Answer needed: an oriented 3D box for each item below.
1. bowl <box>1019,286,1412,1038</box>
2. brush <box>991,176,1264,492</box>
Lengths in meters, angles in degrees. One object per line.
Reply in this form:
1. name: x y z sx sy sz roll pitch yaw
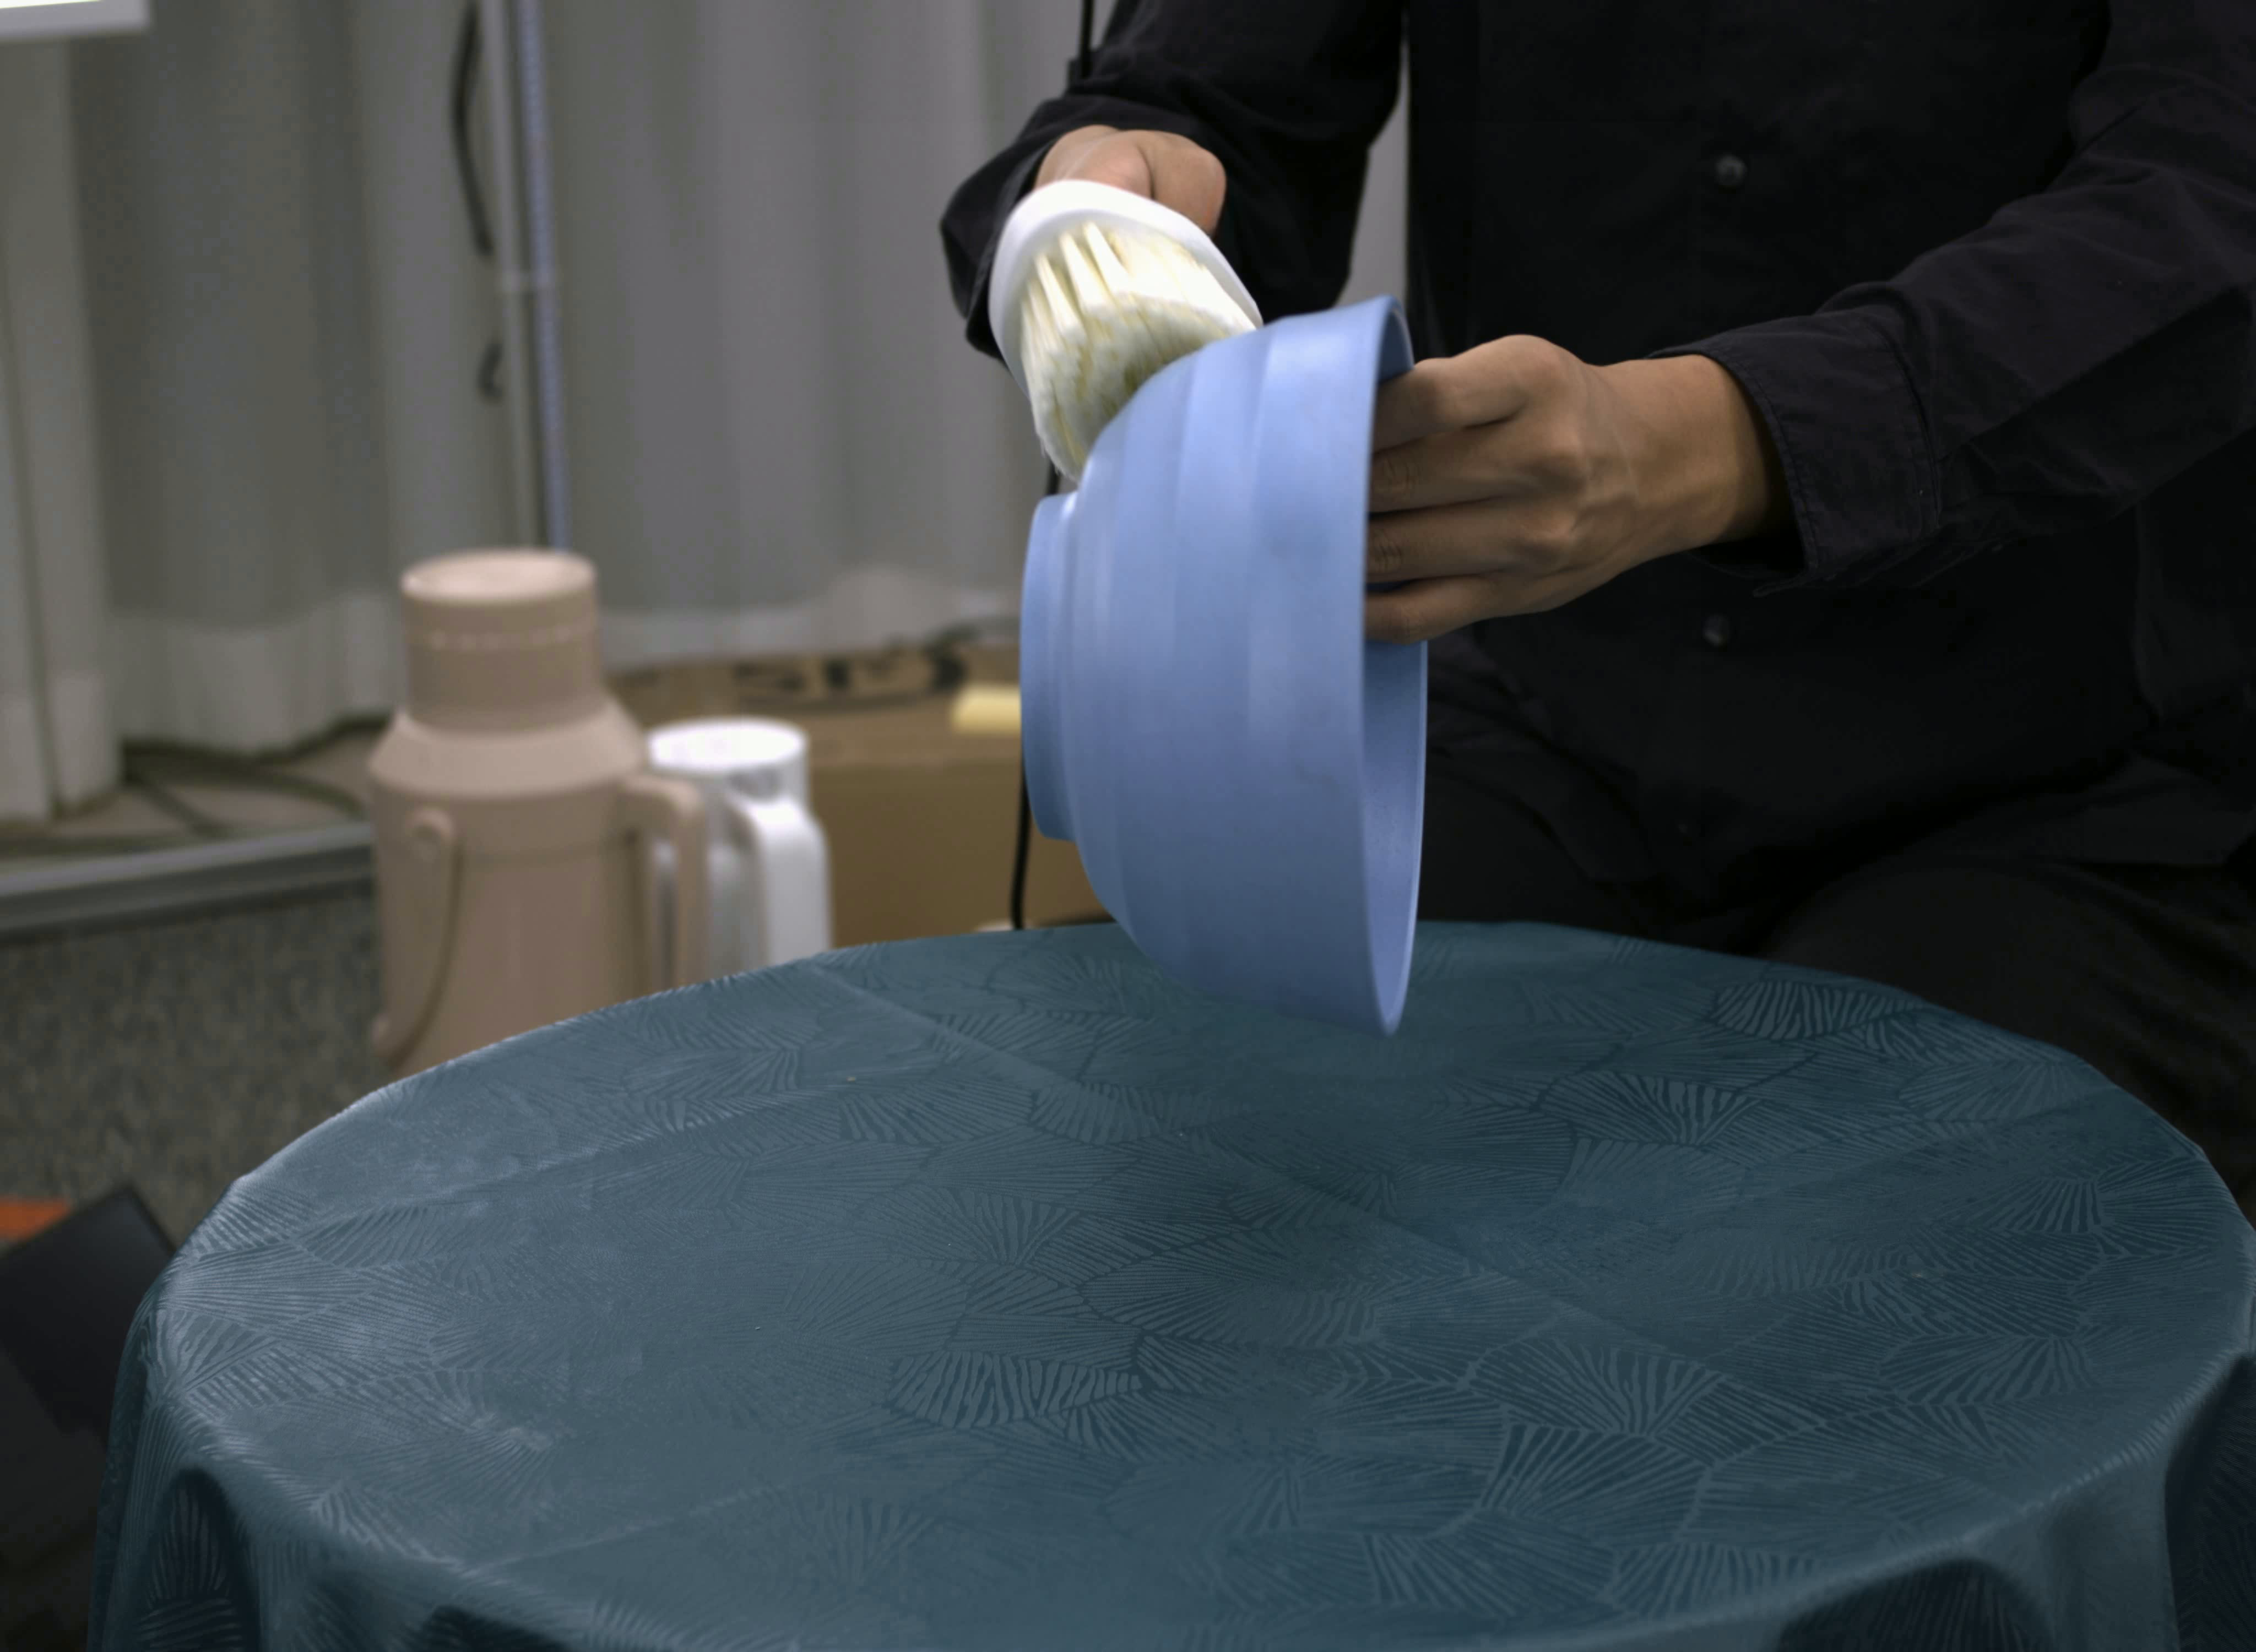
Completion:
1. bowl: 0.024 -0.043 1.407 0.095 0.196 0.196 0 16 7
2. brush: 0.020 -0.129 1.550 0.083 0.085 0.322 11 0 8
